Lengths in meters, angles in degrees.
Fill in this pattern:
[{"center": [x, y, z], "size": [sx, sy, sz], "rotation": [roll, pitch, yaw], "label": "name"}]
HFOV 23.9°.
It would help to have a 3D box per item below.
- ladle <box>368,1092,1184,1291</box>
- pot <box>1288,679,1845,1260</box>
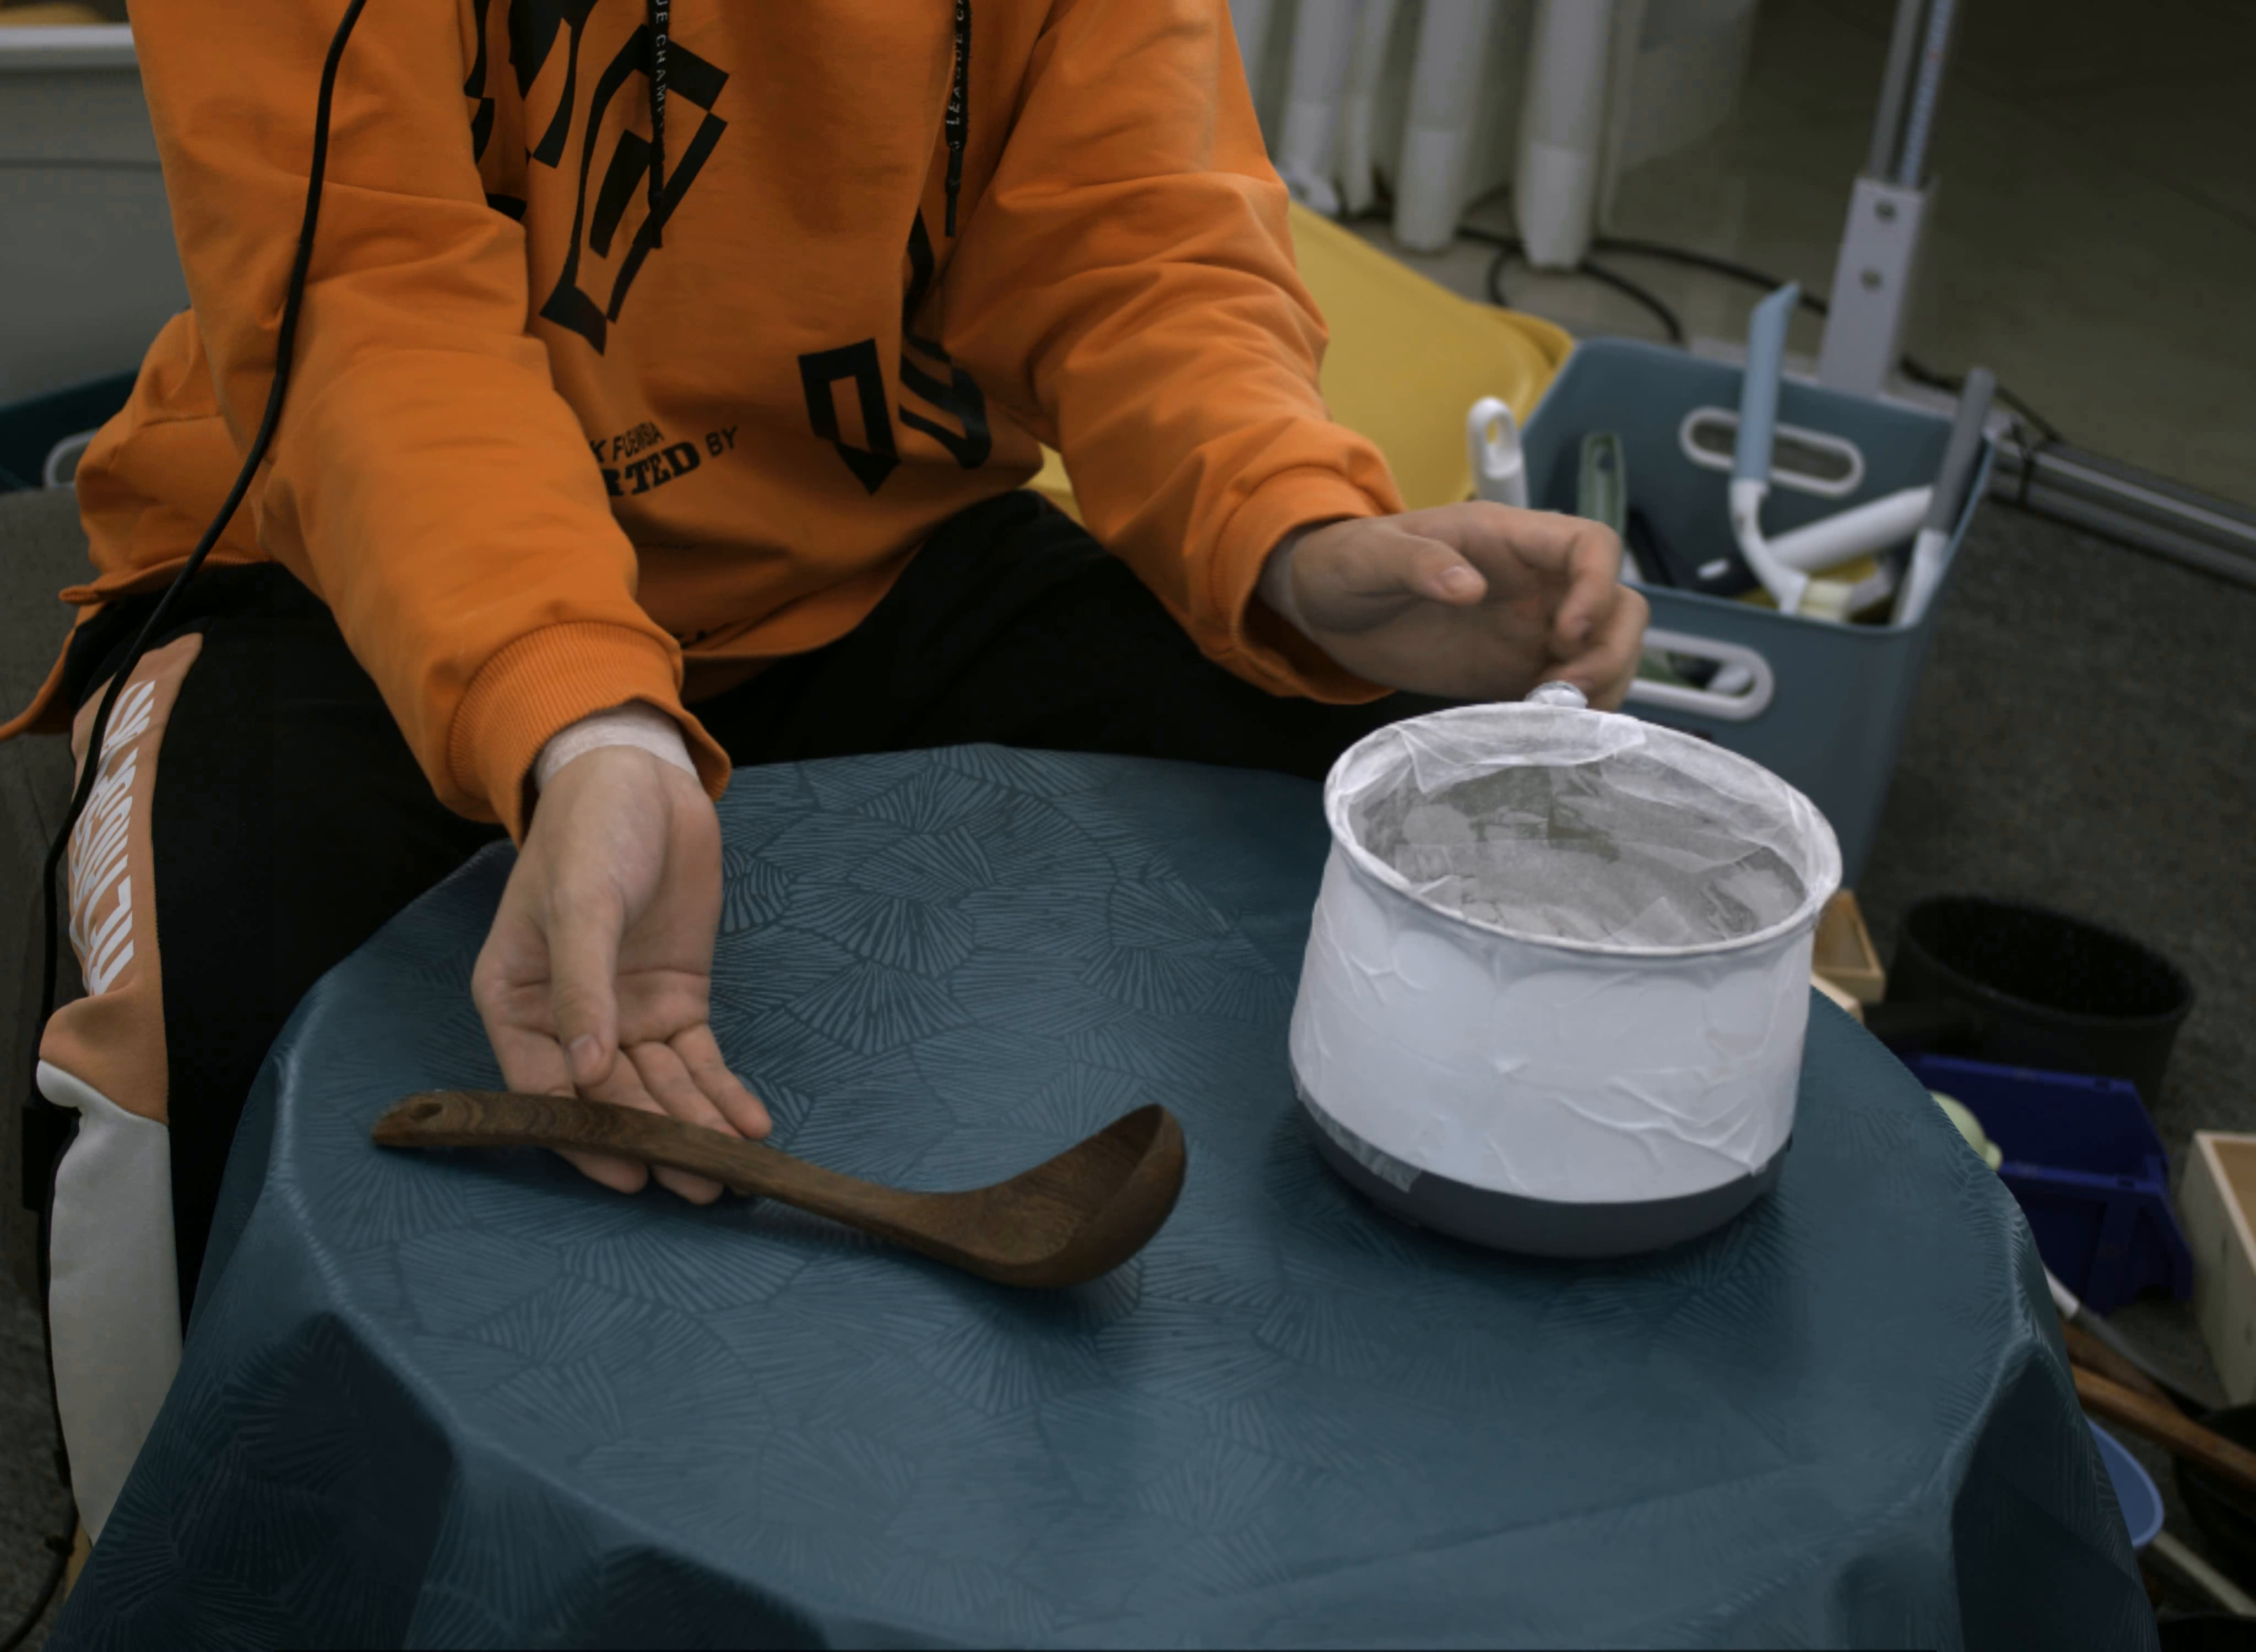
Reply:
[{"center": [-0.117, 0.099, 1.748], "size": [0.274, 0.071, 0.076], "rotation": [12, 27, 9], "label": "ladle"}, {"center": [0.145, 0.042, 1.844], "size": [0.178, 0.136, 0.235], "rotation": [5, 27, -4], "label": "pot"}]
